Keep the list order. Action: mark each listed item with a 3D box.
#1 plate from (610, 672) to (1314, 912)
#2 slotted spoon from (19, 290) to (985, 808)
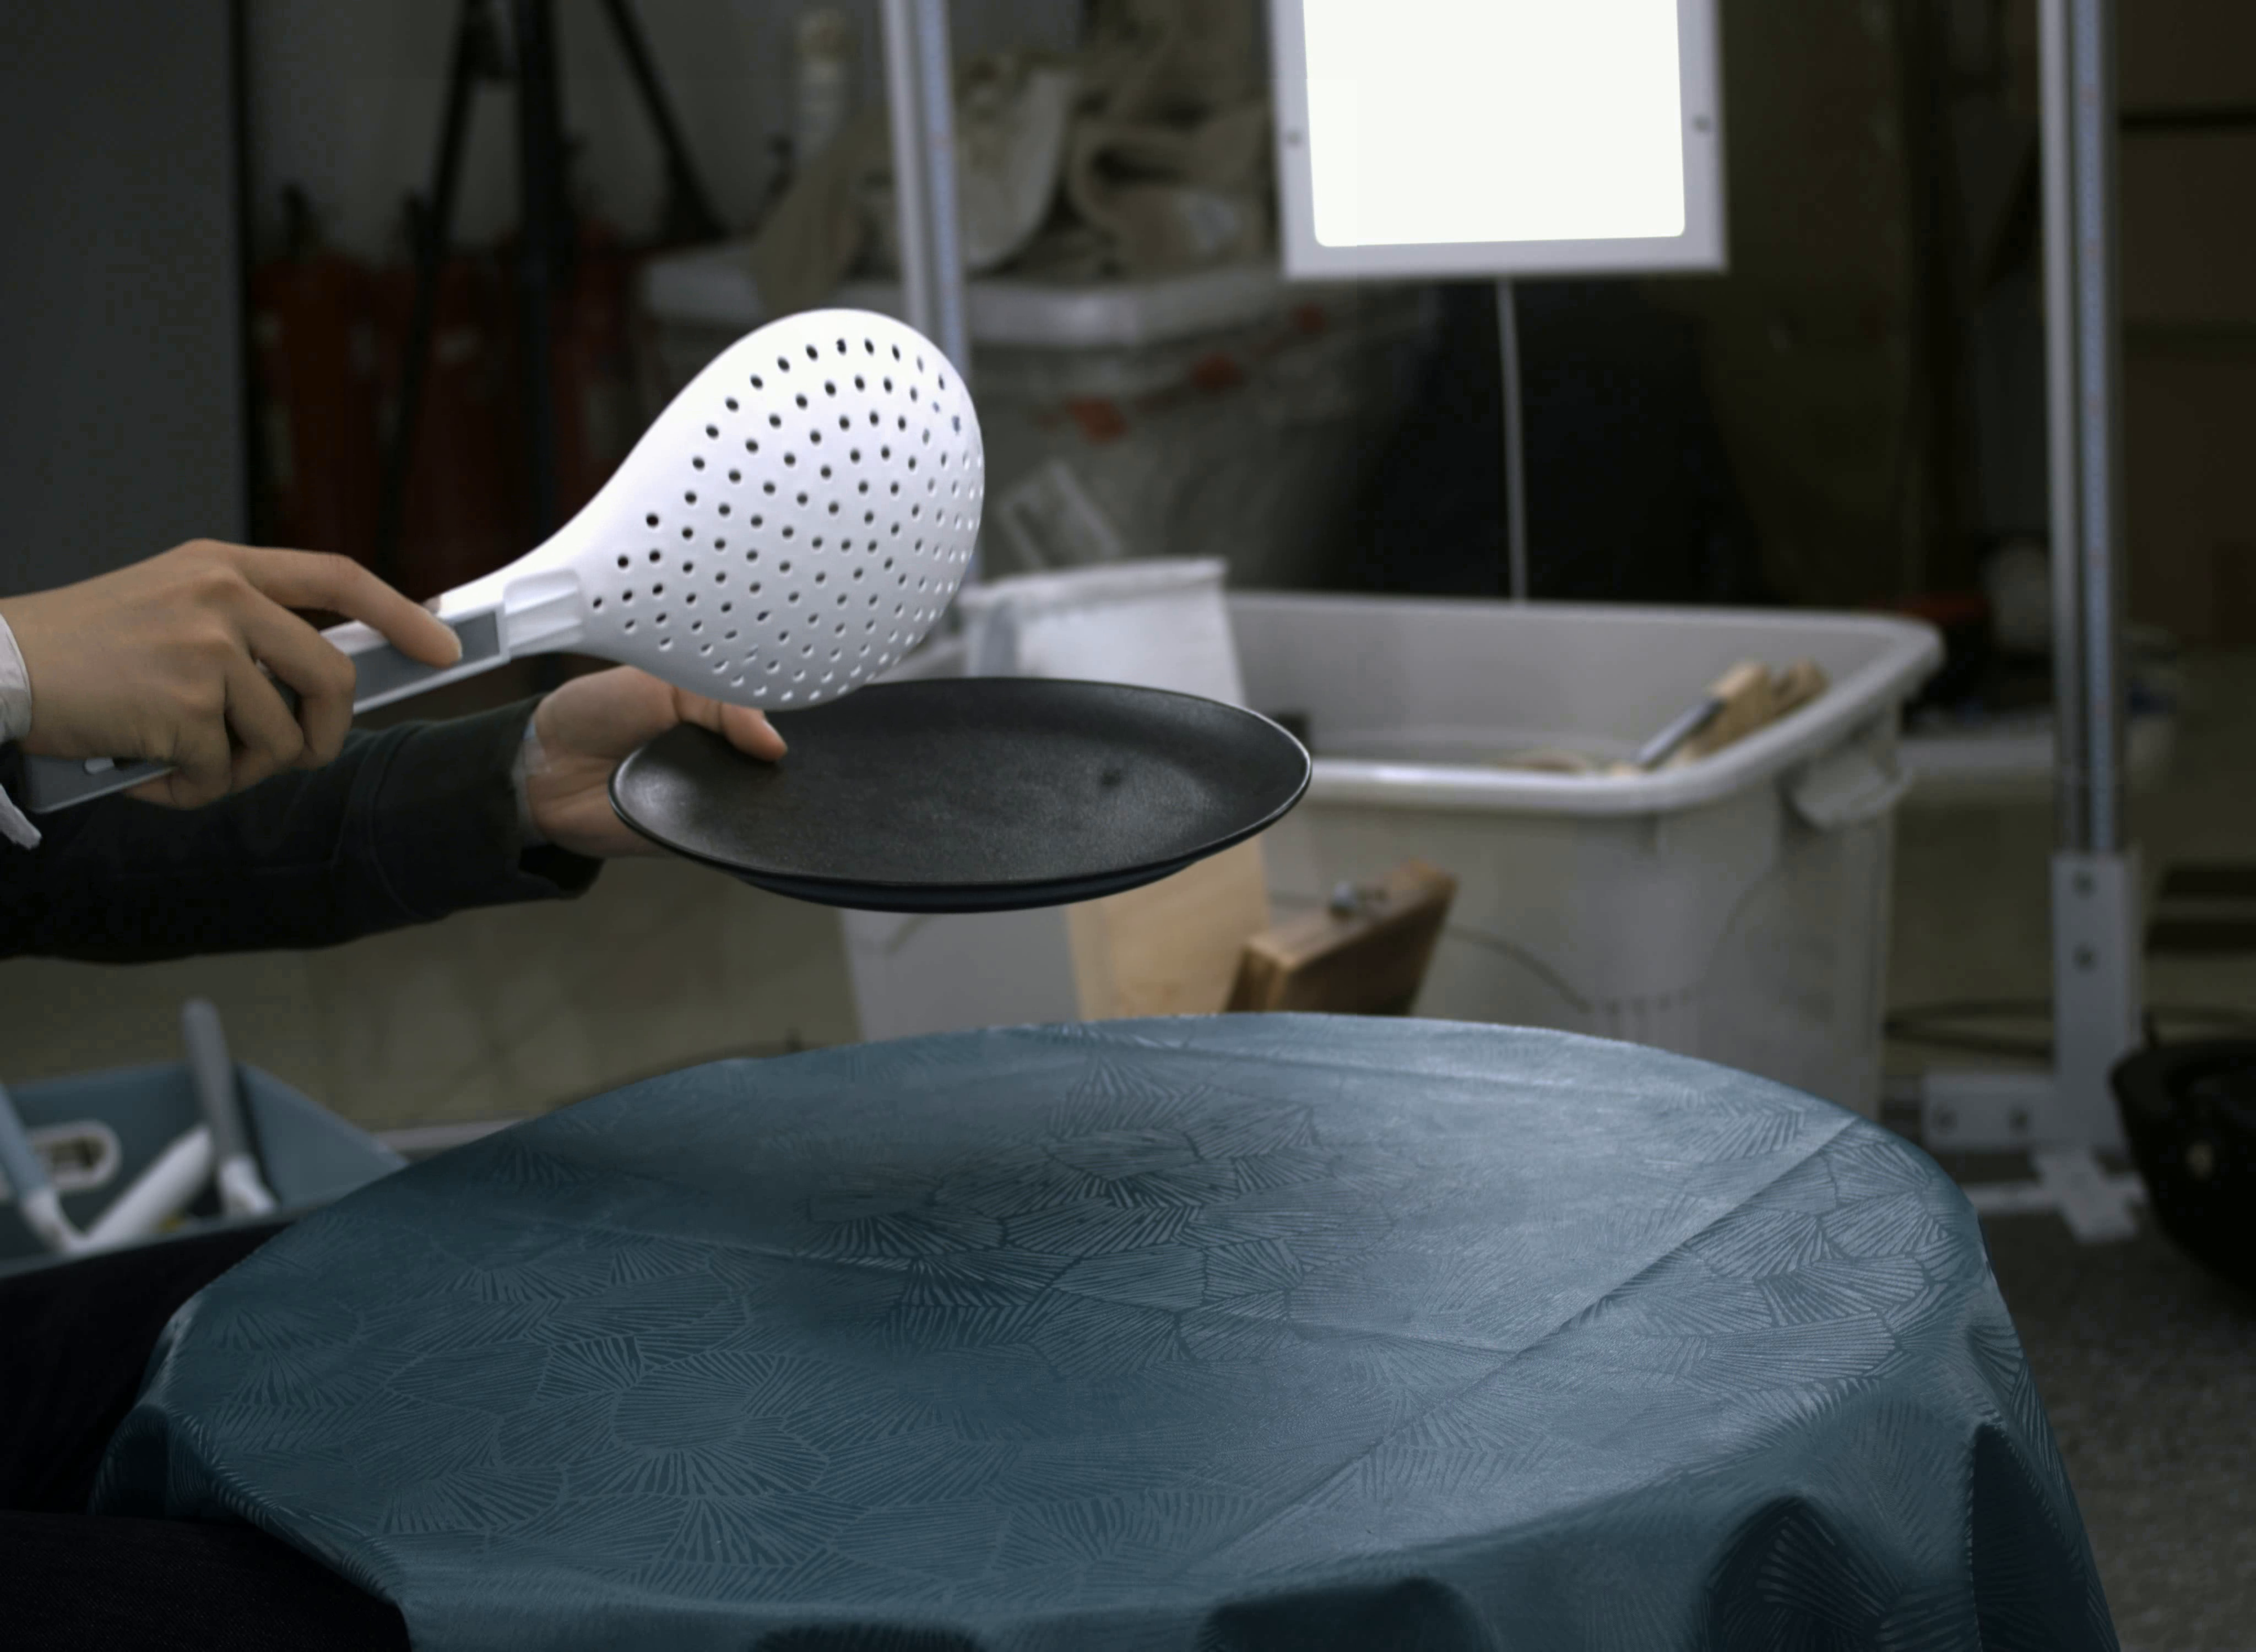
[{"bbox_3d":[-0.057,-0.009,1.896,0.243,0.023,0.244,-3,18,-1],"label":"plate"},{"bbox_3d":[-0.187,-0.072,1.737,0.343,0.136,0.046,-18,27,-23],"label":"slotted spoon"}]
